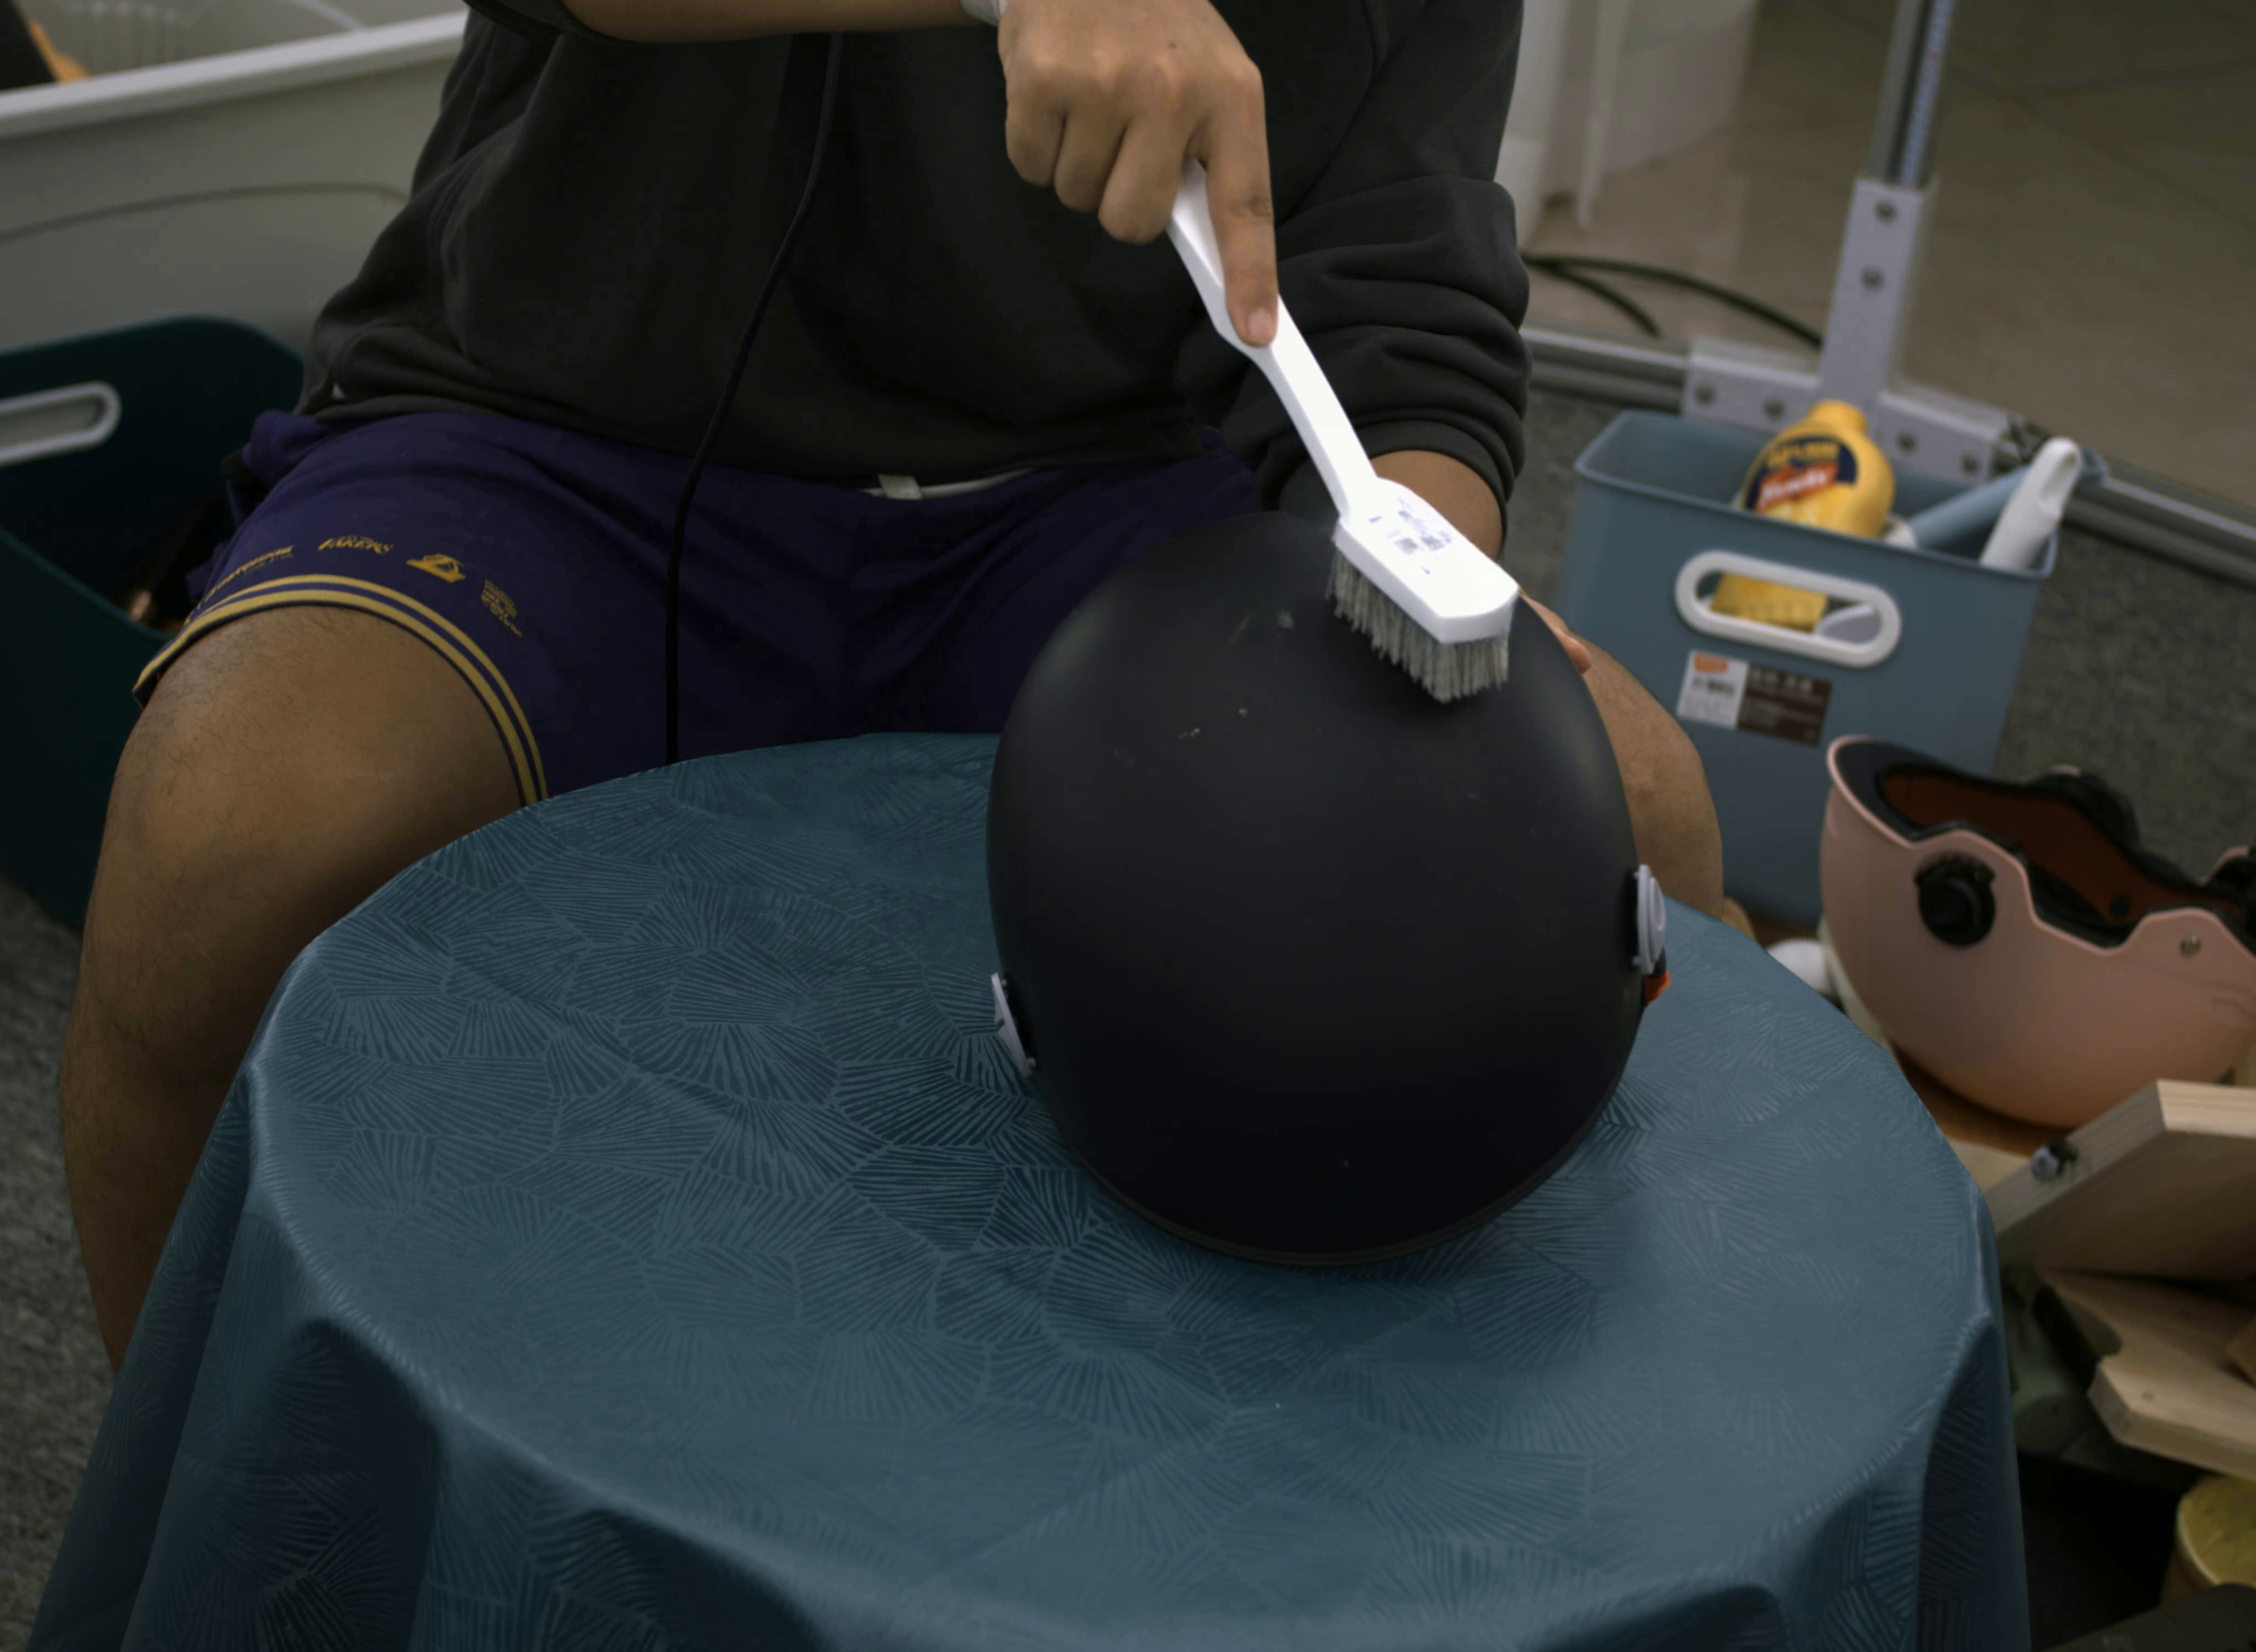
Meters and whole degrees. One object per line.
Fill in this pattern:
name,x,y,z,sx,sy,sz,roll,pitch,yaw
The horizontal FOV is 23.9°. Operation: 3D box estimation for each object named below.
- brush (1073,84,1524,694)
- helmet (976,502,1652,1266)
brush,0.050,-0.144,1.759,0.034,0.050,0.245,-25,68,-31
helmet,0.056,-0.003,1.797,0.230,0.165,0.275,-9,48,6
